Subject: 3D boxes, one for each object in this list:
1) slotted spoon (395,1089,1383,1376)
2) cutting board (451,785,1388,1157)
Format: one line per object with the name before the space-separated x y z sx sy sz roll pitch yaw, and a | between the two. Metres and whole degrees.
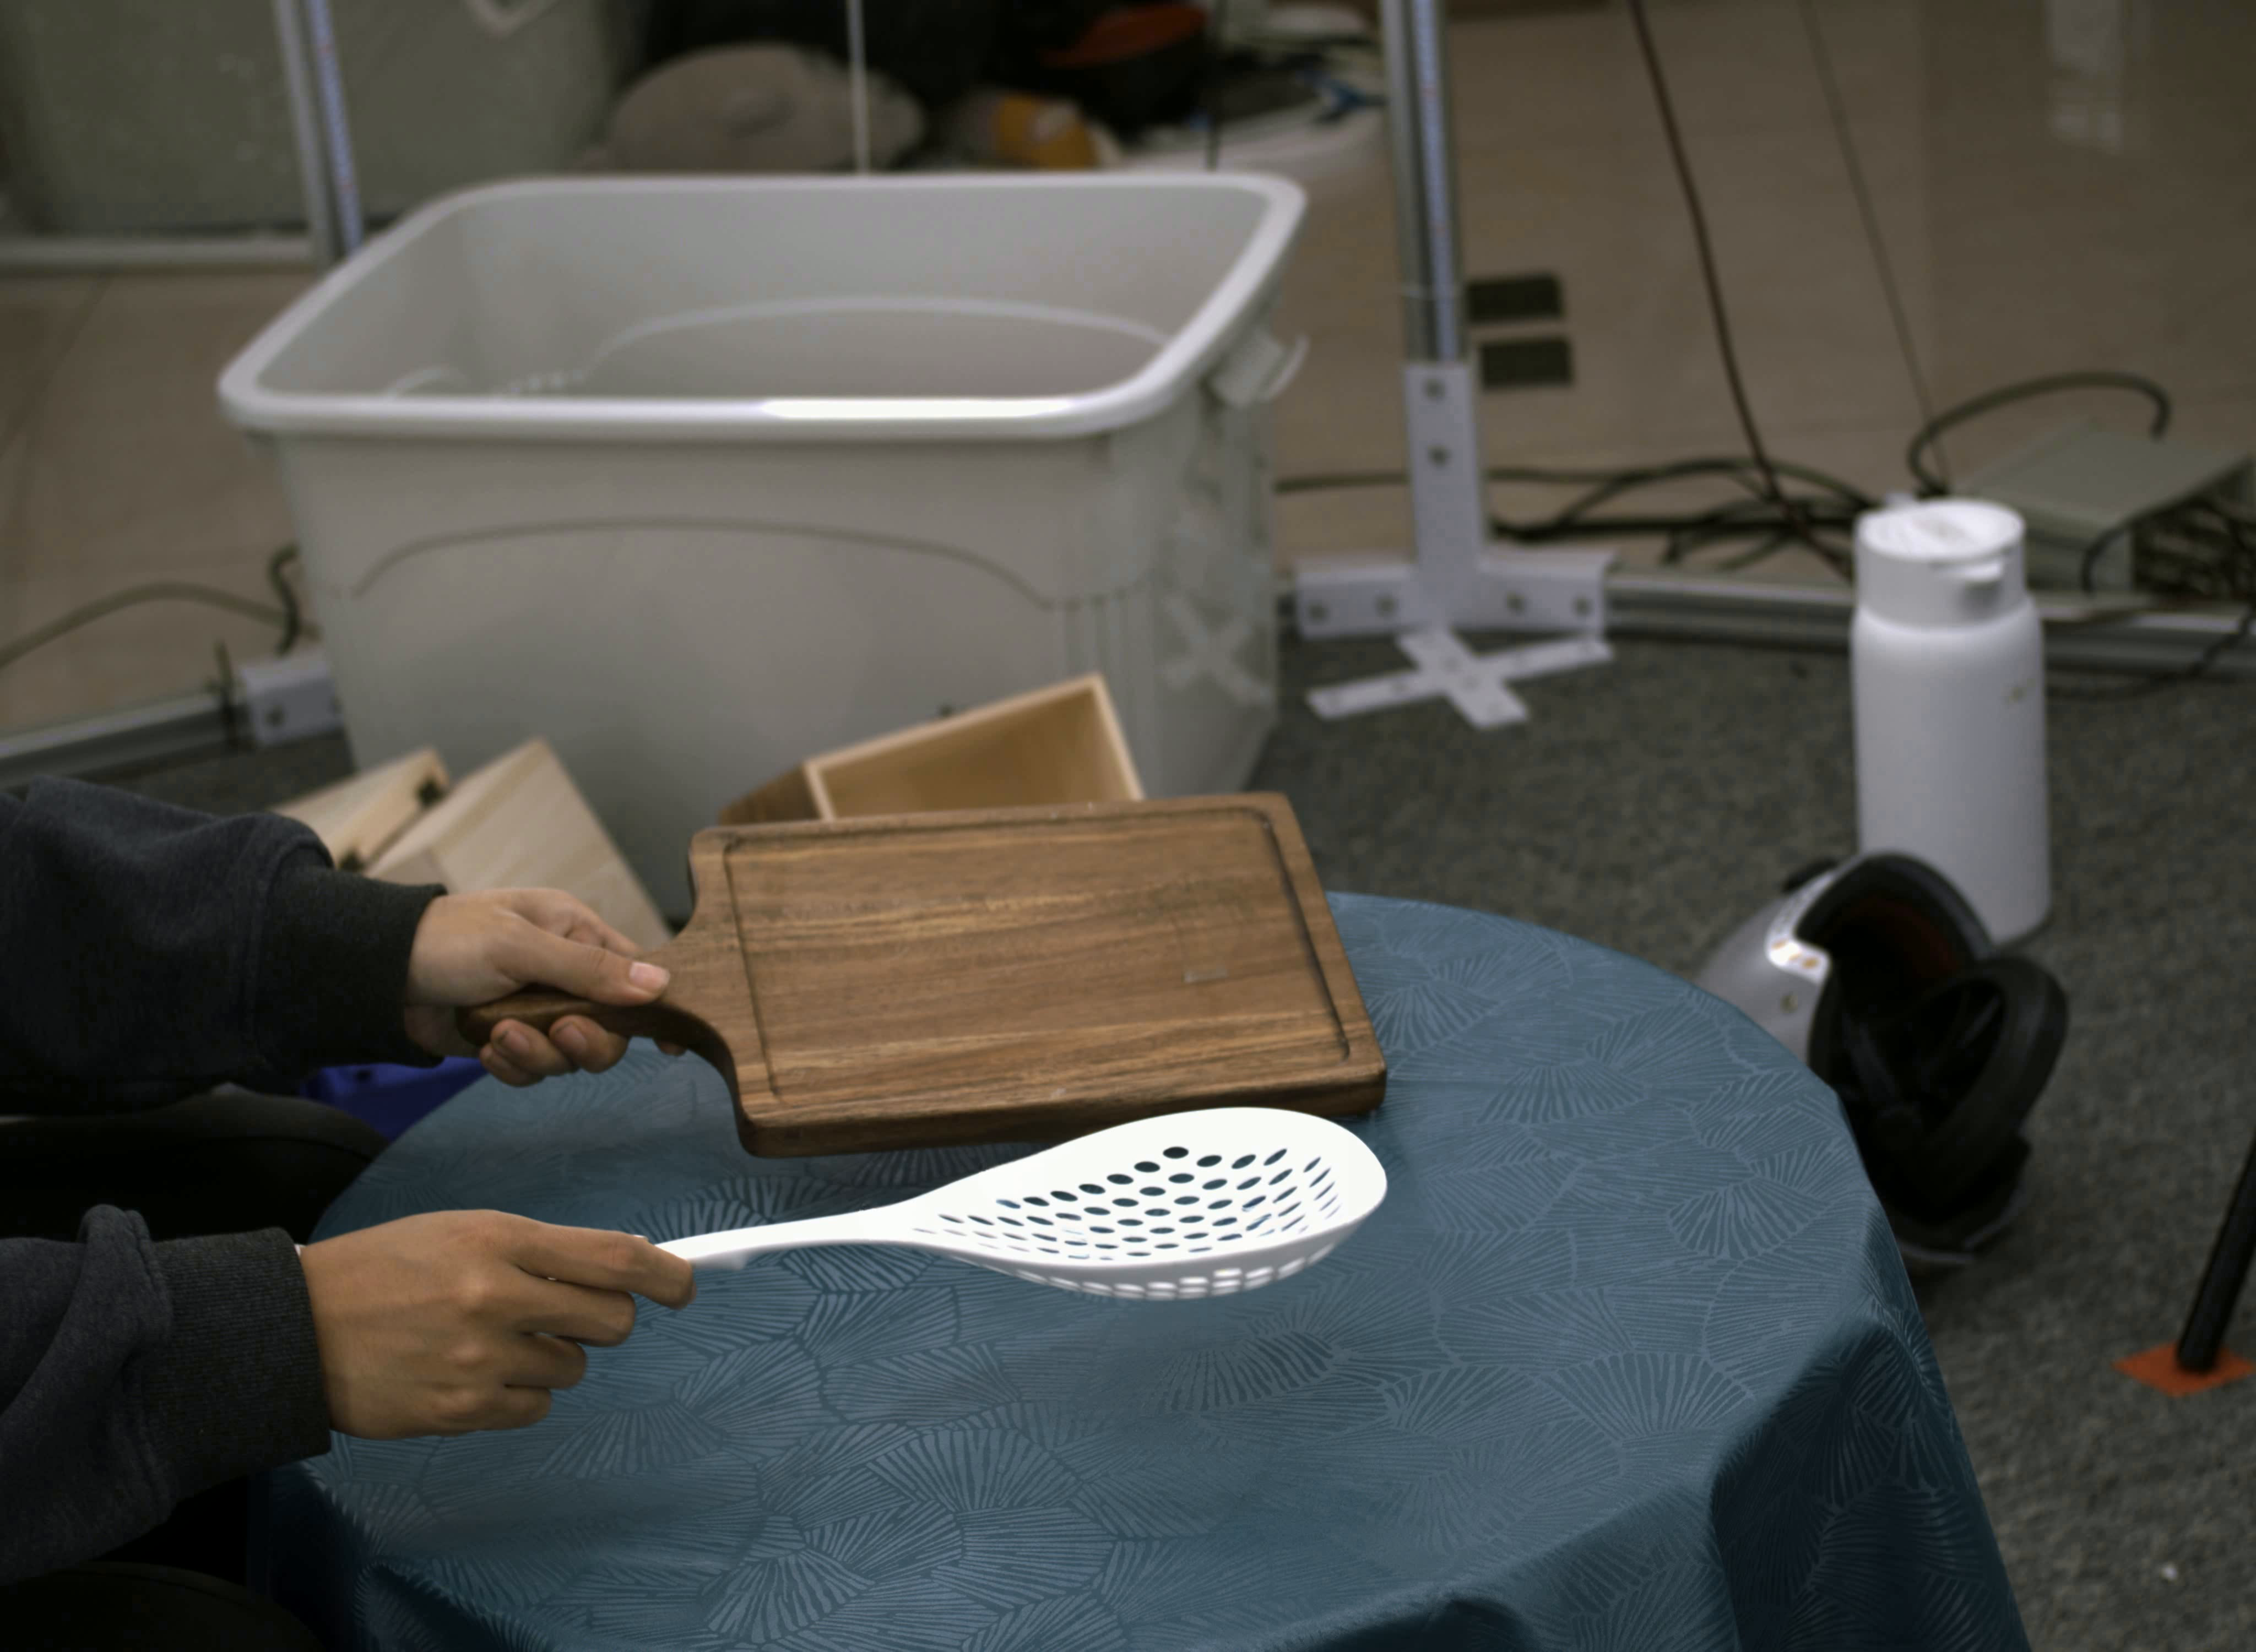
slotted spoon | -0.083 0.148 1.974 0.347 0.051 0.135 -5 18 -9
cutting board | -0.089 0.057 2.215 0.351 0.023 0.197 -4 37 -10
